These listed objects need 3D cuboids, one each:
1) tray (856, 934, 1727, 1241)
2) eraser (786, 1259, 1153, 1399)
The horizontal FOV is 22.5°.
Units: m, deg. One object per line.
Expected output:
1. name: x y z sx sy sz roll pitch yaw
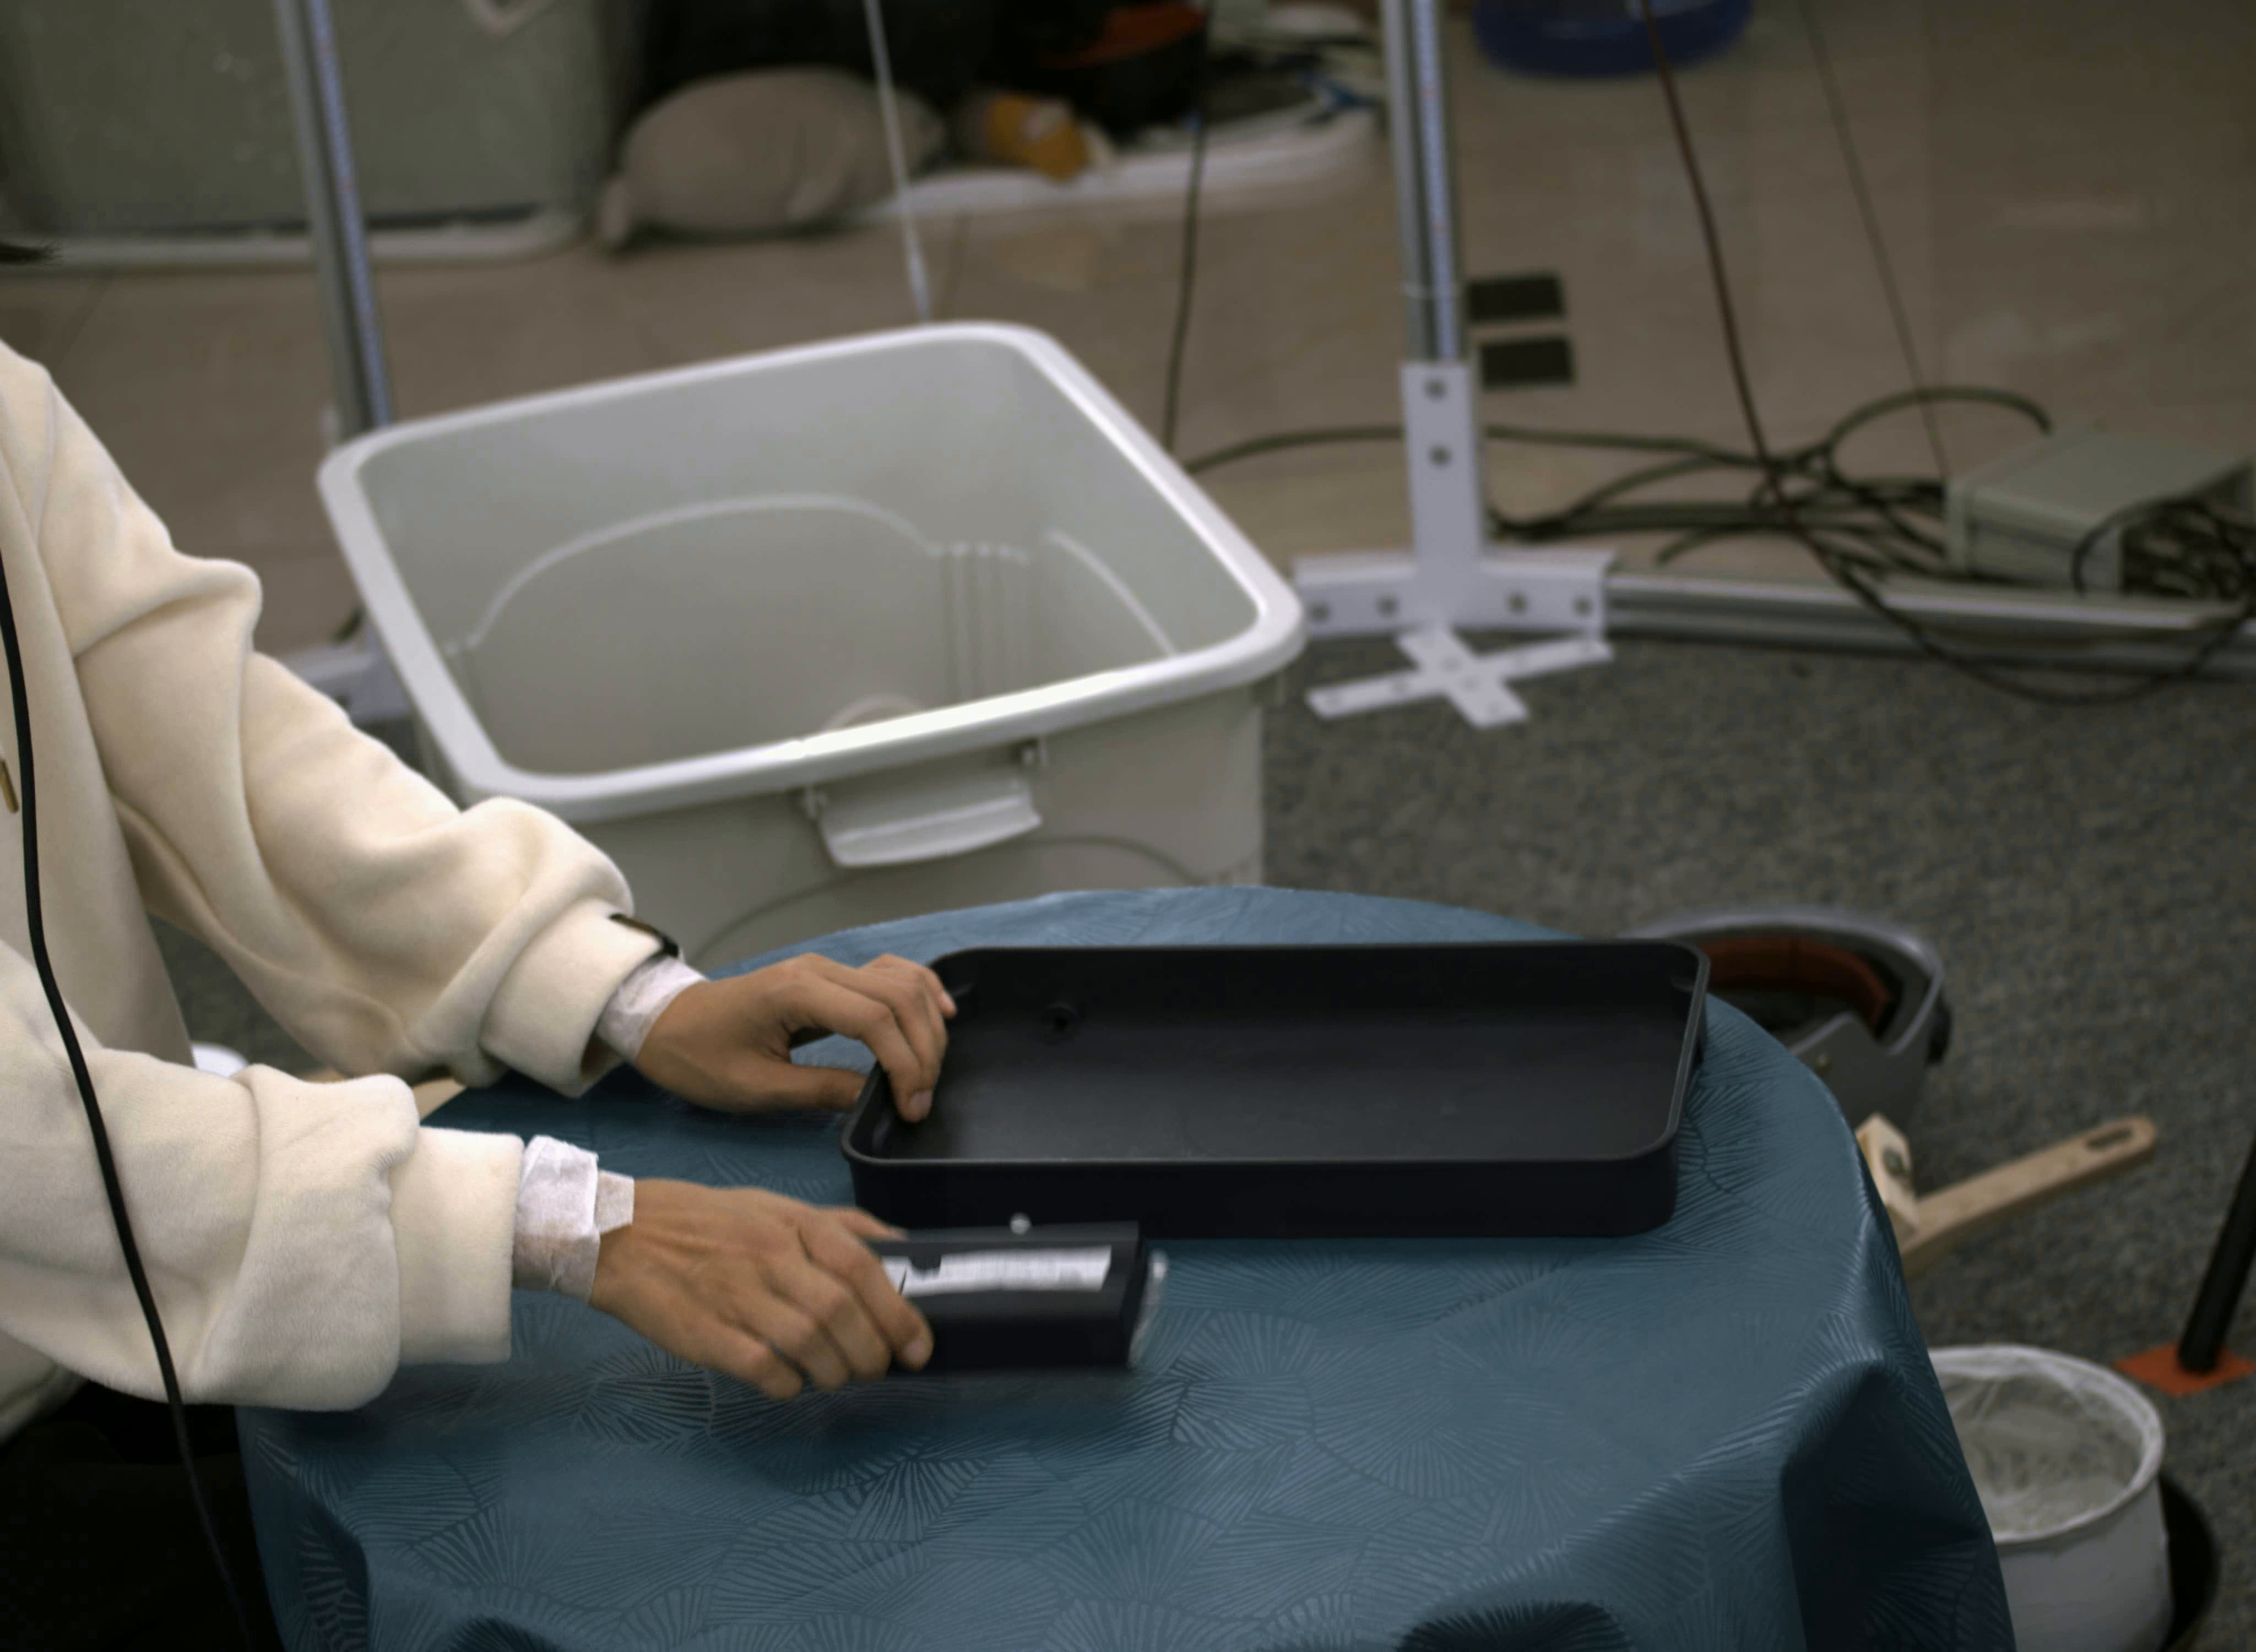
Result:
1. tray: 0.066 0.099 2.173 0.317 0.037 0.181 -2 25 12
2. eraser: -0.055 0.178 2.013 0.125 0.031 0.052 0 29 14
